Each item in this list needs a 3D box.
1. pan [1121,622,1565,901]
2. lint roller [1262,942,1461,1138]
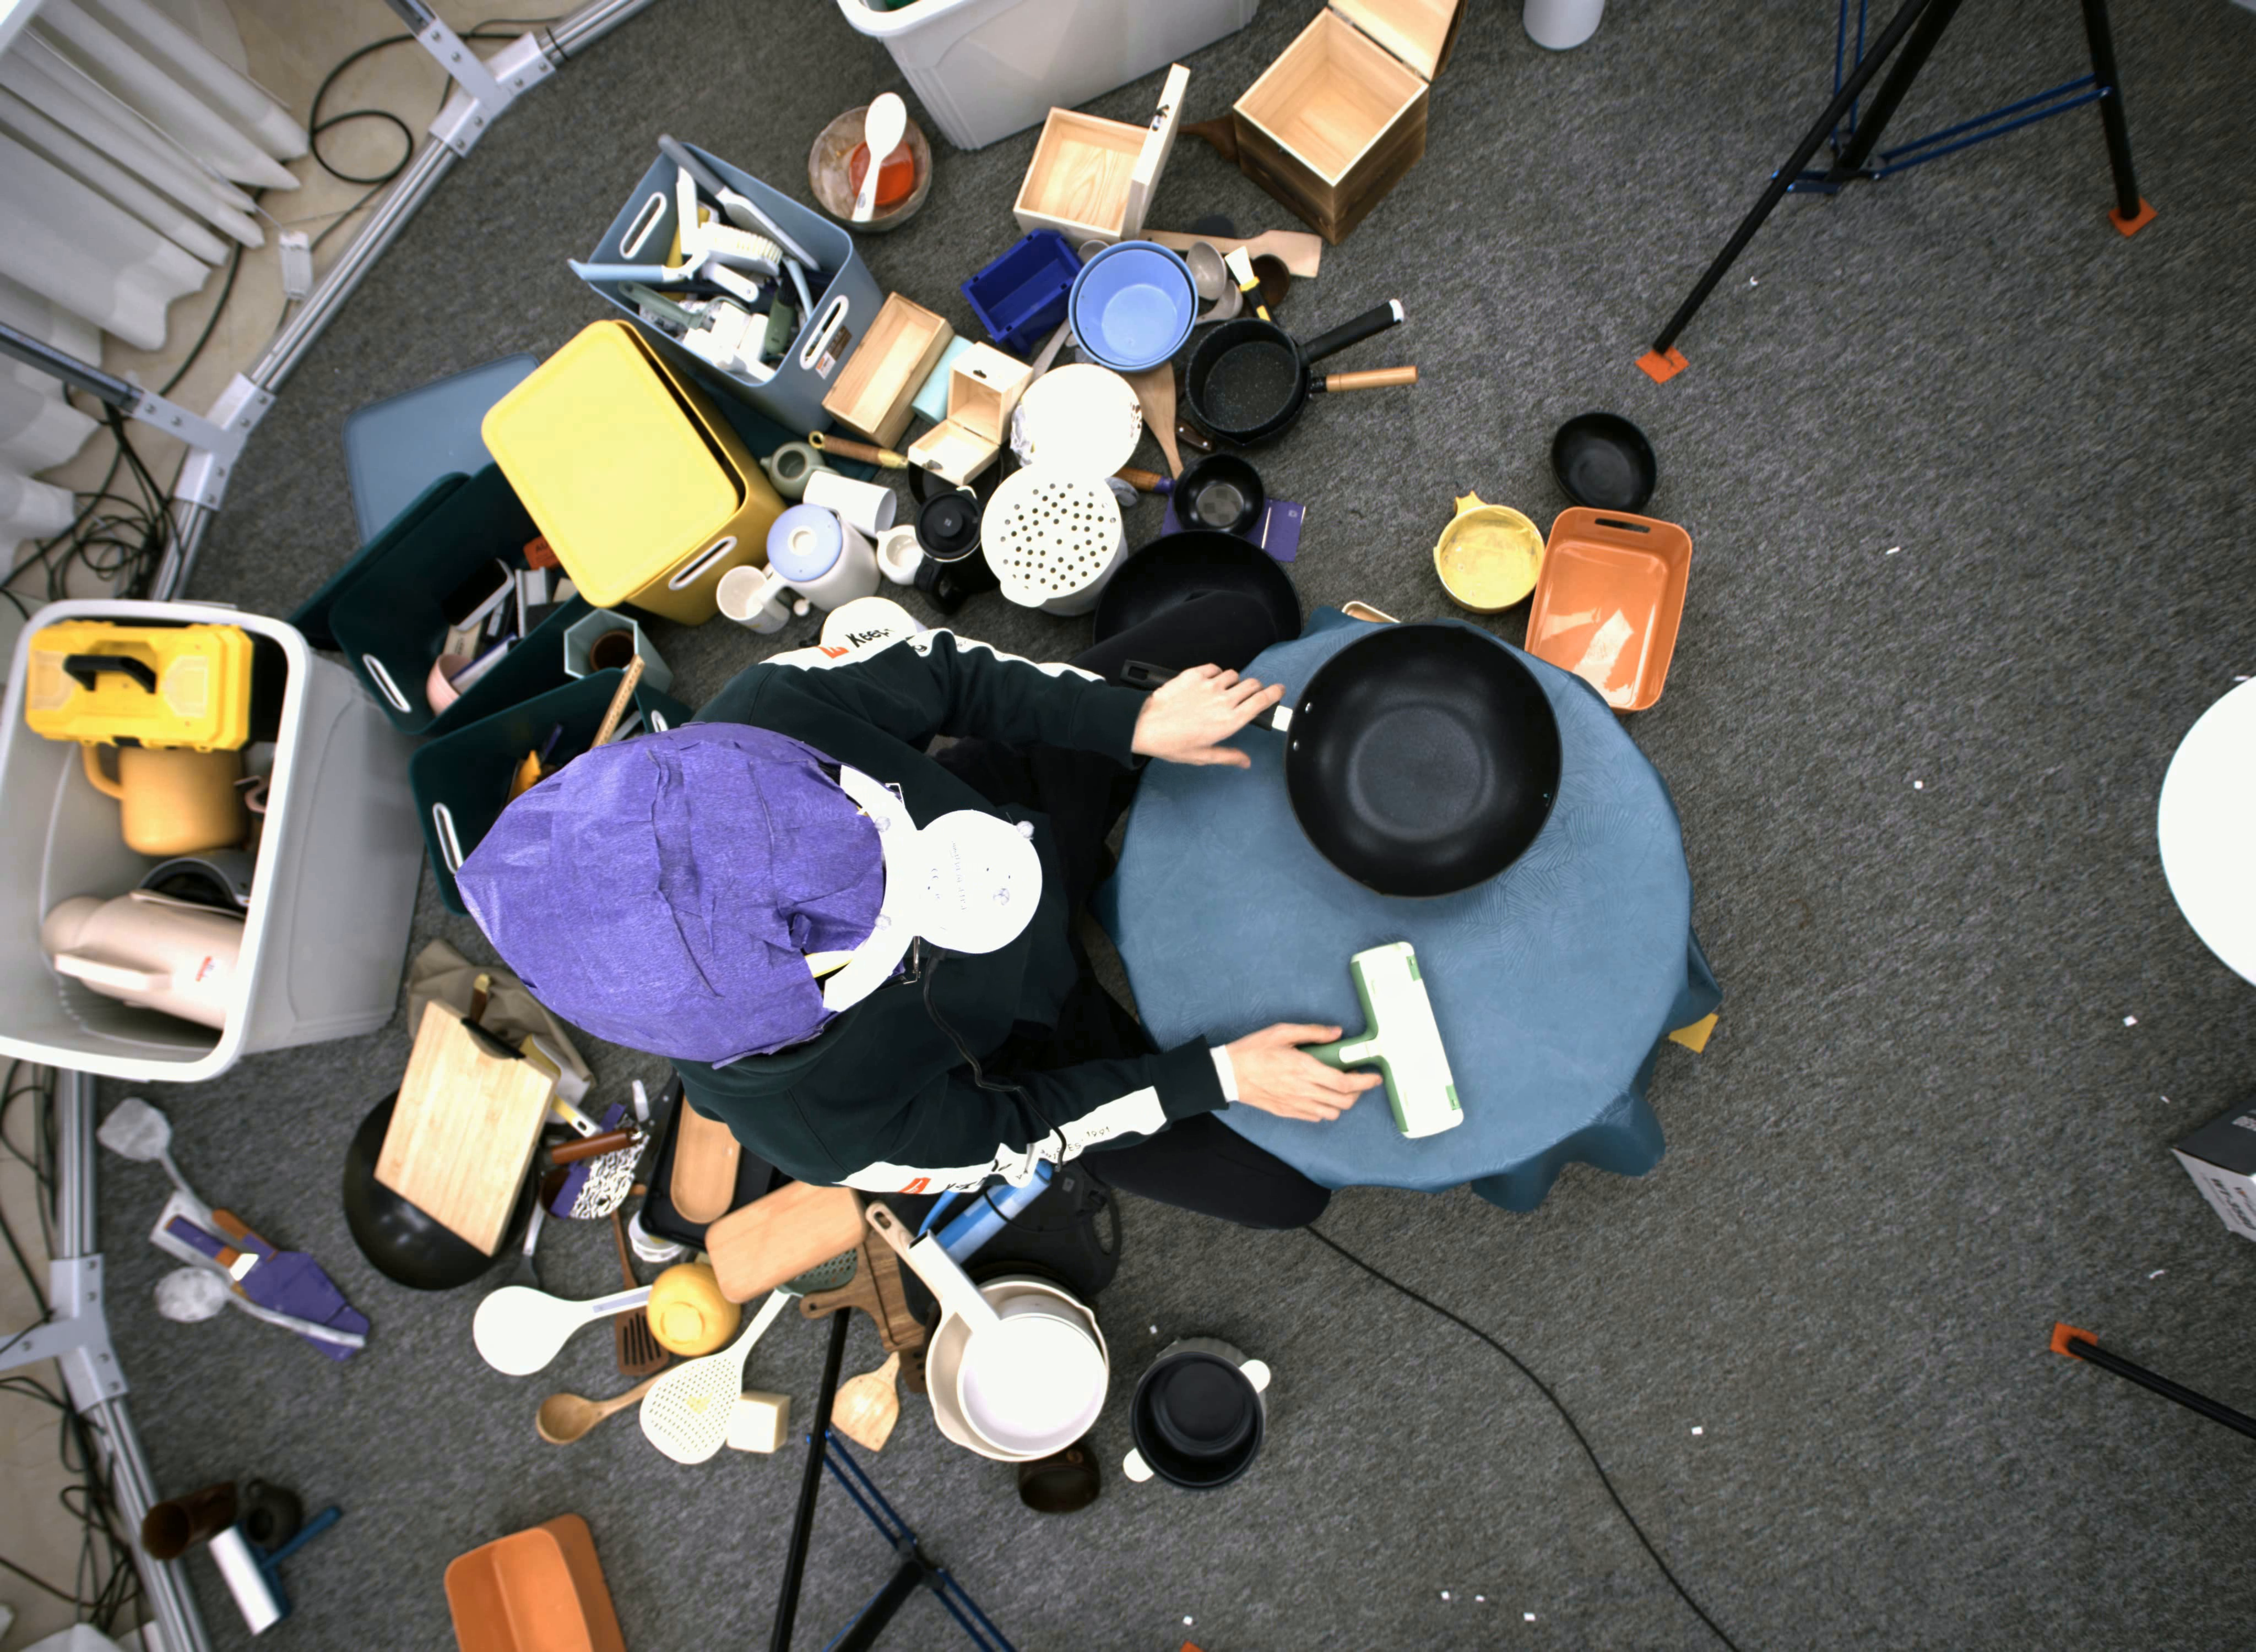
[{"bbox_3d":[0.215,-0.090,1.431,0.463,0.087,0.288,17,90,12],"label":"pan"},{"bbox_3d":[0.227,0.232,1.417,0.184,0.082,0.197,-16,85,4],"label":"lint roller"}]
